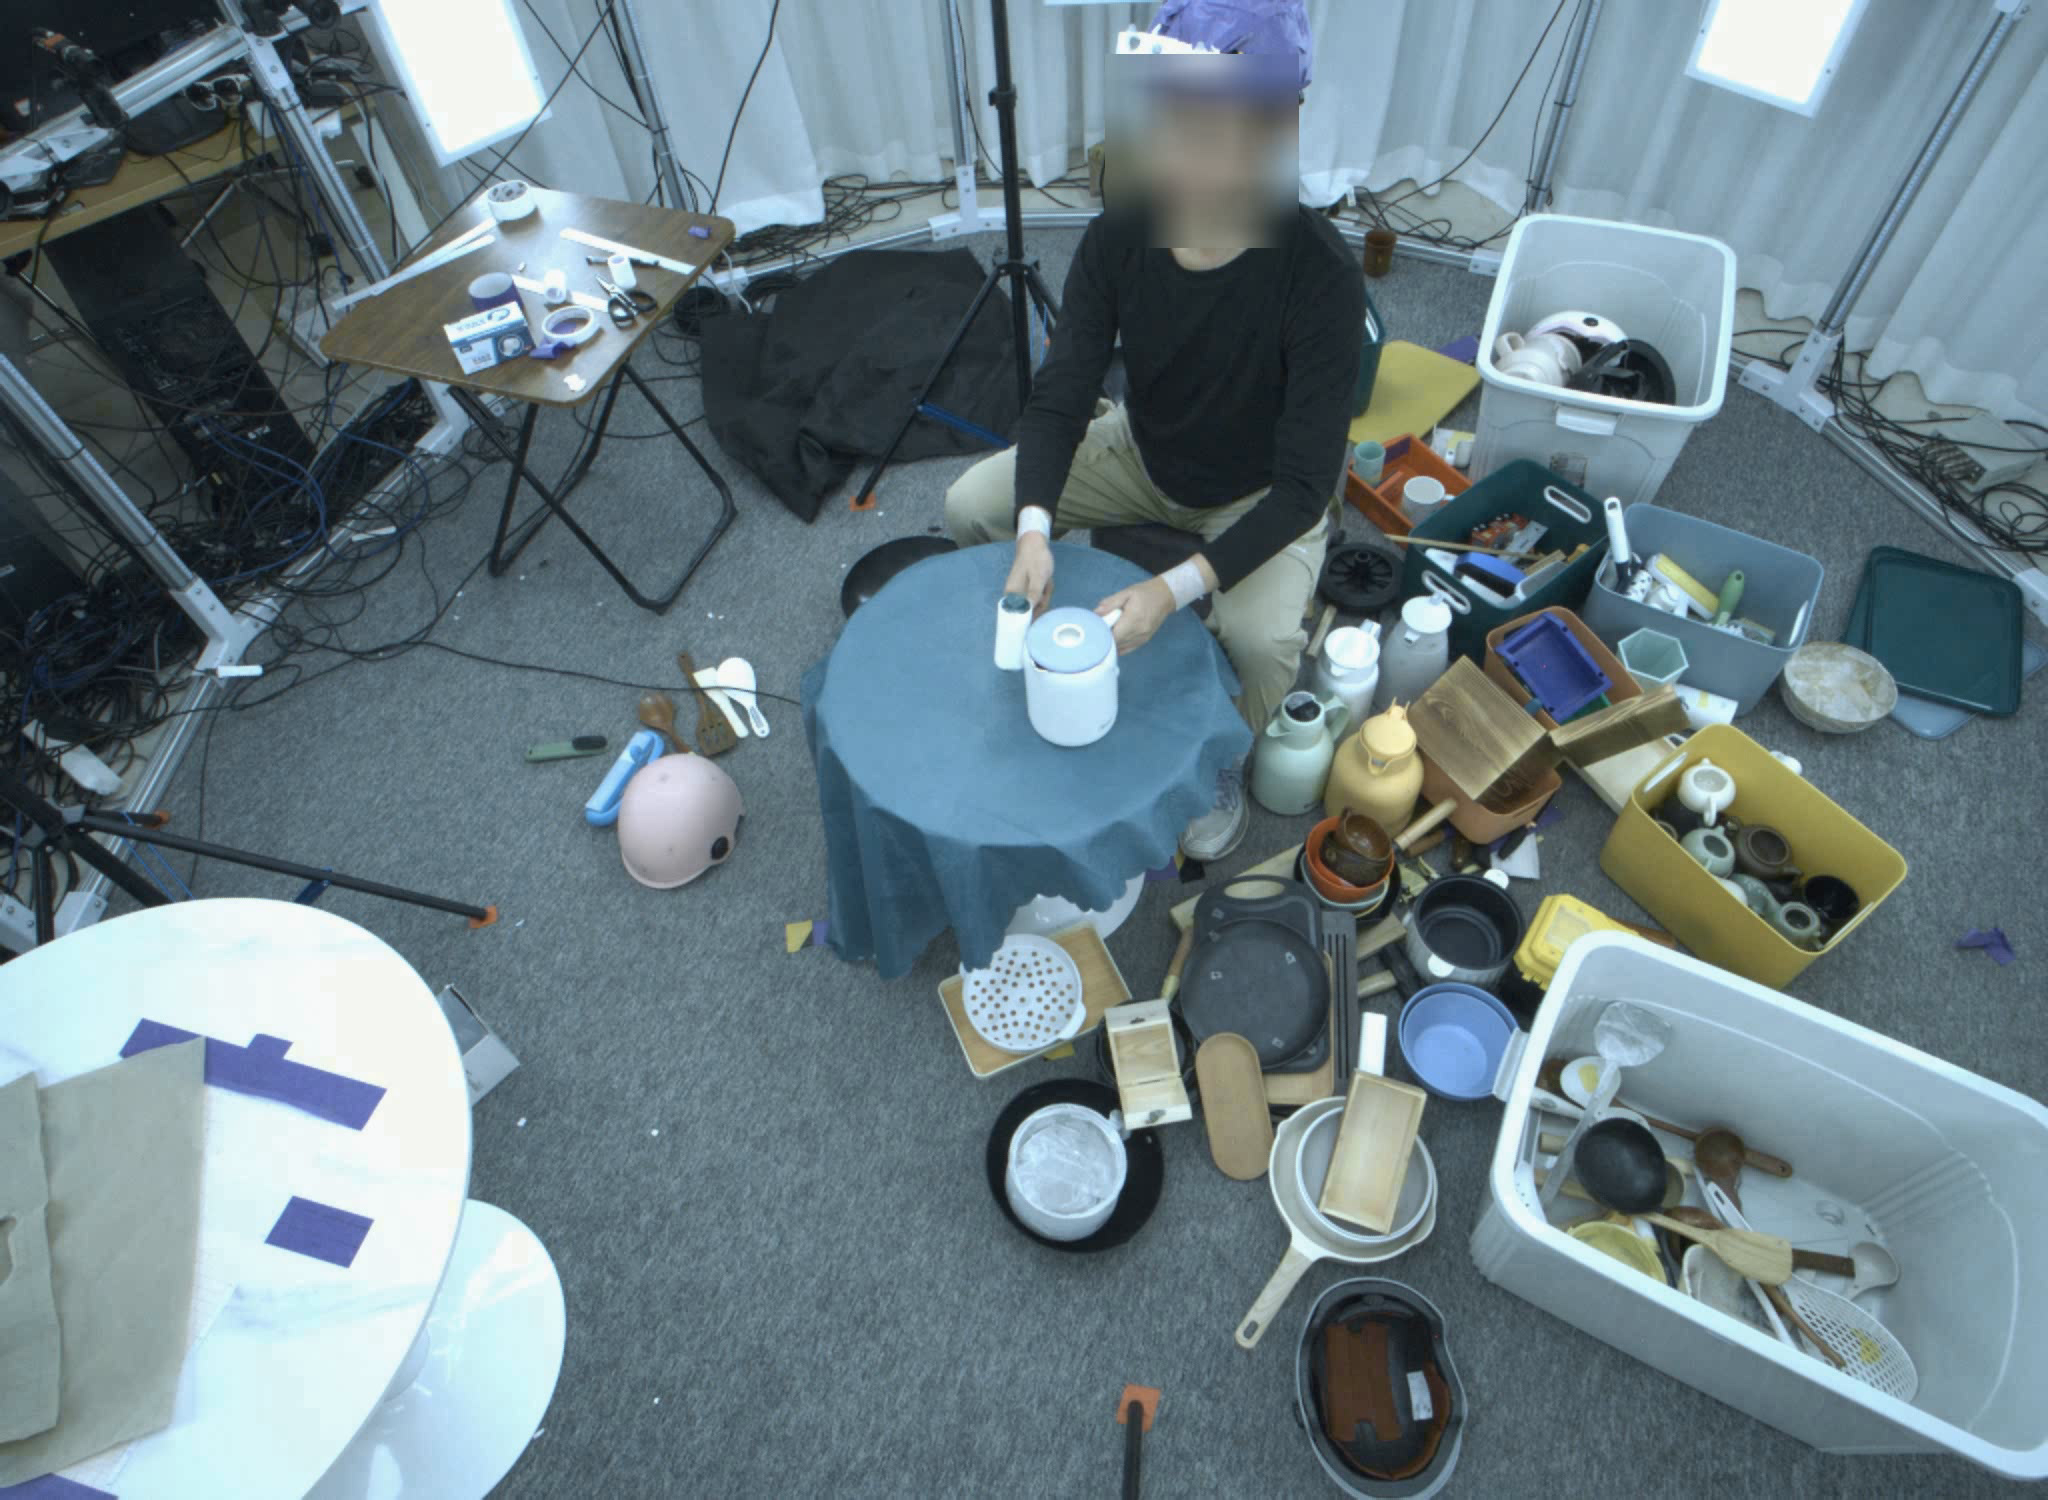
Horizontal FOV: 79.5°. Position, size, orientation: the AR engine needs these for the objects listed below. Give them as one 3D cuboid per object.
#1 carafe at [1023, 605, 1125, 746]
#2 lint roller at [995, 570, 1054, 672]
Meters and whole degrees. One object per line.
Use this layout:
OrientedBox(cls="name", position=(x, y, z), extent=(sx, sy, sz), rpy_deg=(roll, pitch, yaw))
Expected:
OrientedBox(cls="carafe", position=(0.083, -0.119, 1.763), extent=(0.130, 0.184, 0.192), rpy_deg=(35, 62, 24))
OrientedBox(cls="lint roller", position=(0.001, -0.211, 1.782), extent=(0.048, 0.135, 0.179), rpy_deg=(13, 44, 6))
